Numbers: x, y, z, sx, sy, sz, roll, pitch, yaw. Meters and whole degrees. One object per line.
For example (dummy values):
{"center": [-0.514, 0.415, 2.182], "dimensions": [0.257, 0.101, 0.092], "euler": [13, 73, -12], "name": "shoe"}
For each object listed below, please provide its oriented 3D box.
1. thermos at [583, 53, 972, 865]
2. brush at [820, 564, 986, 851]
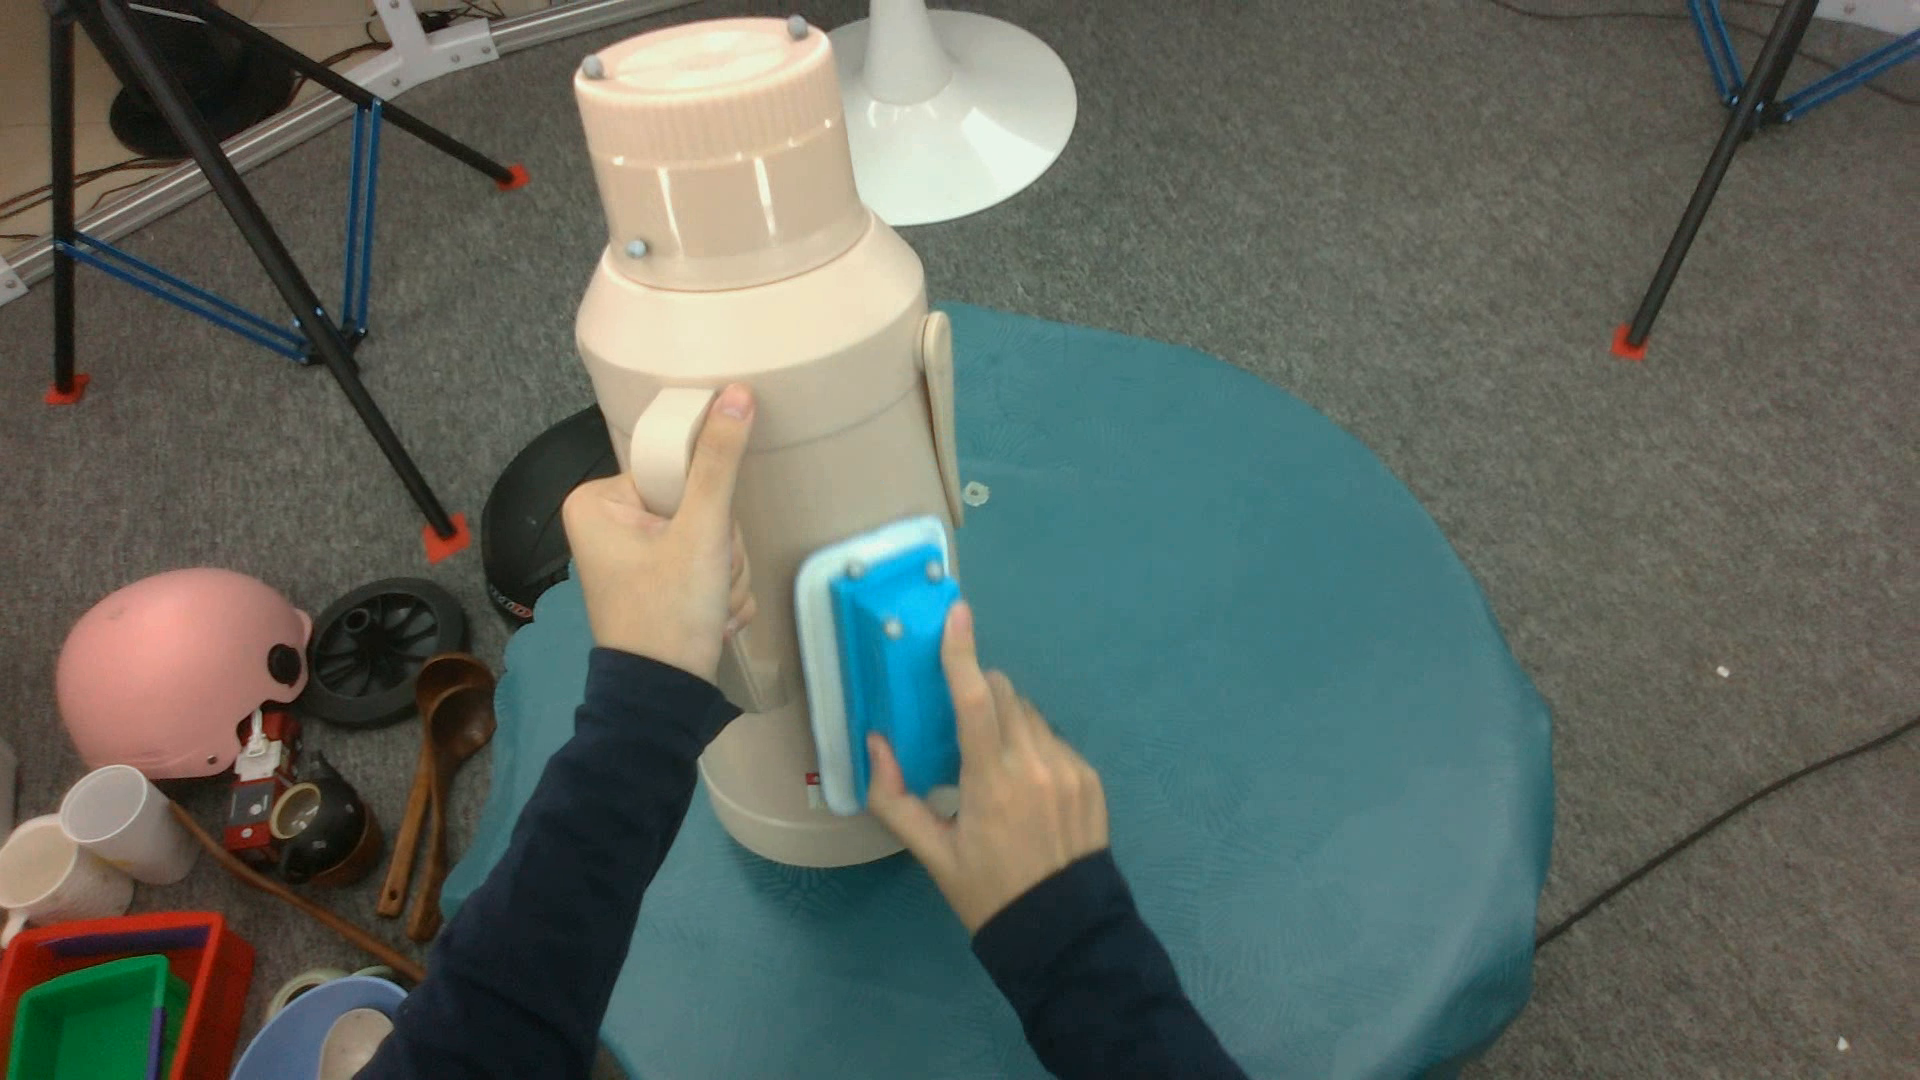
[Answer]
{"center": [-0.091, -0.018, 0.683], "dimensions": [0.175, 0.404, 0.208], "euler": [4, 38, 12], "name": "thermos"}
{"center": [-0.019, 0.086, 0.655], "dimensions": [0.084, 0.143, 0.056], "euler": [-17, 26, -28], "name": "brush"}
